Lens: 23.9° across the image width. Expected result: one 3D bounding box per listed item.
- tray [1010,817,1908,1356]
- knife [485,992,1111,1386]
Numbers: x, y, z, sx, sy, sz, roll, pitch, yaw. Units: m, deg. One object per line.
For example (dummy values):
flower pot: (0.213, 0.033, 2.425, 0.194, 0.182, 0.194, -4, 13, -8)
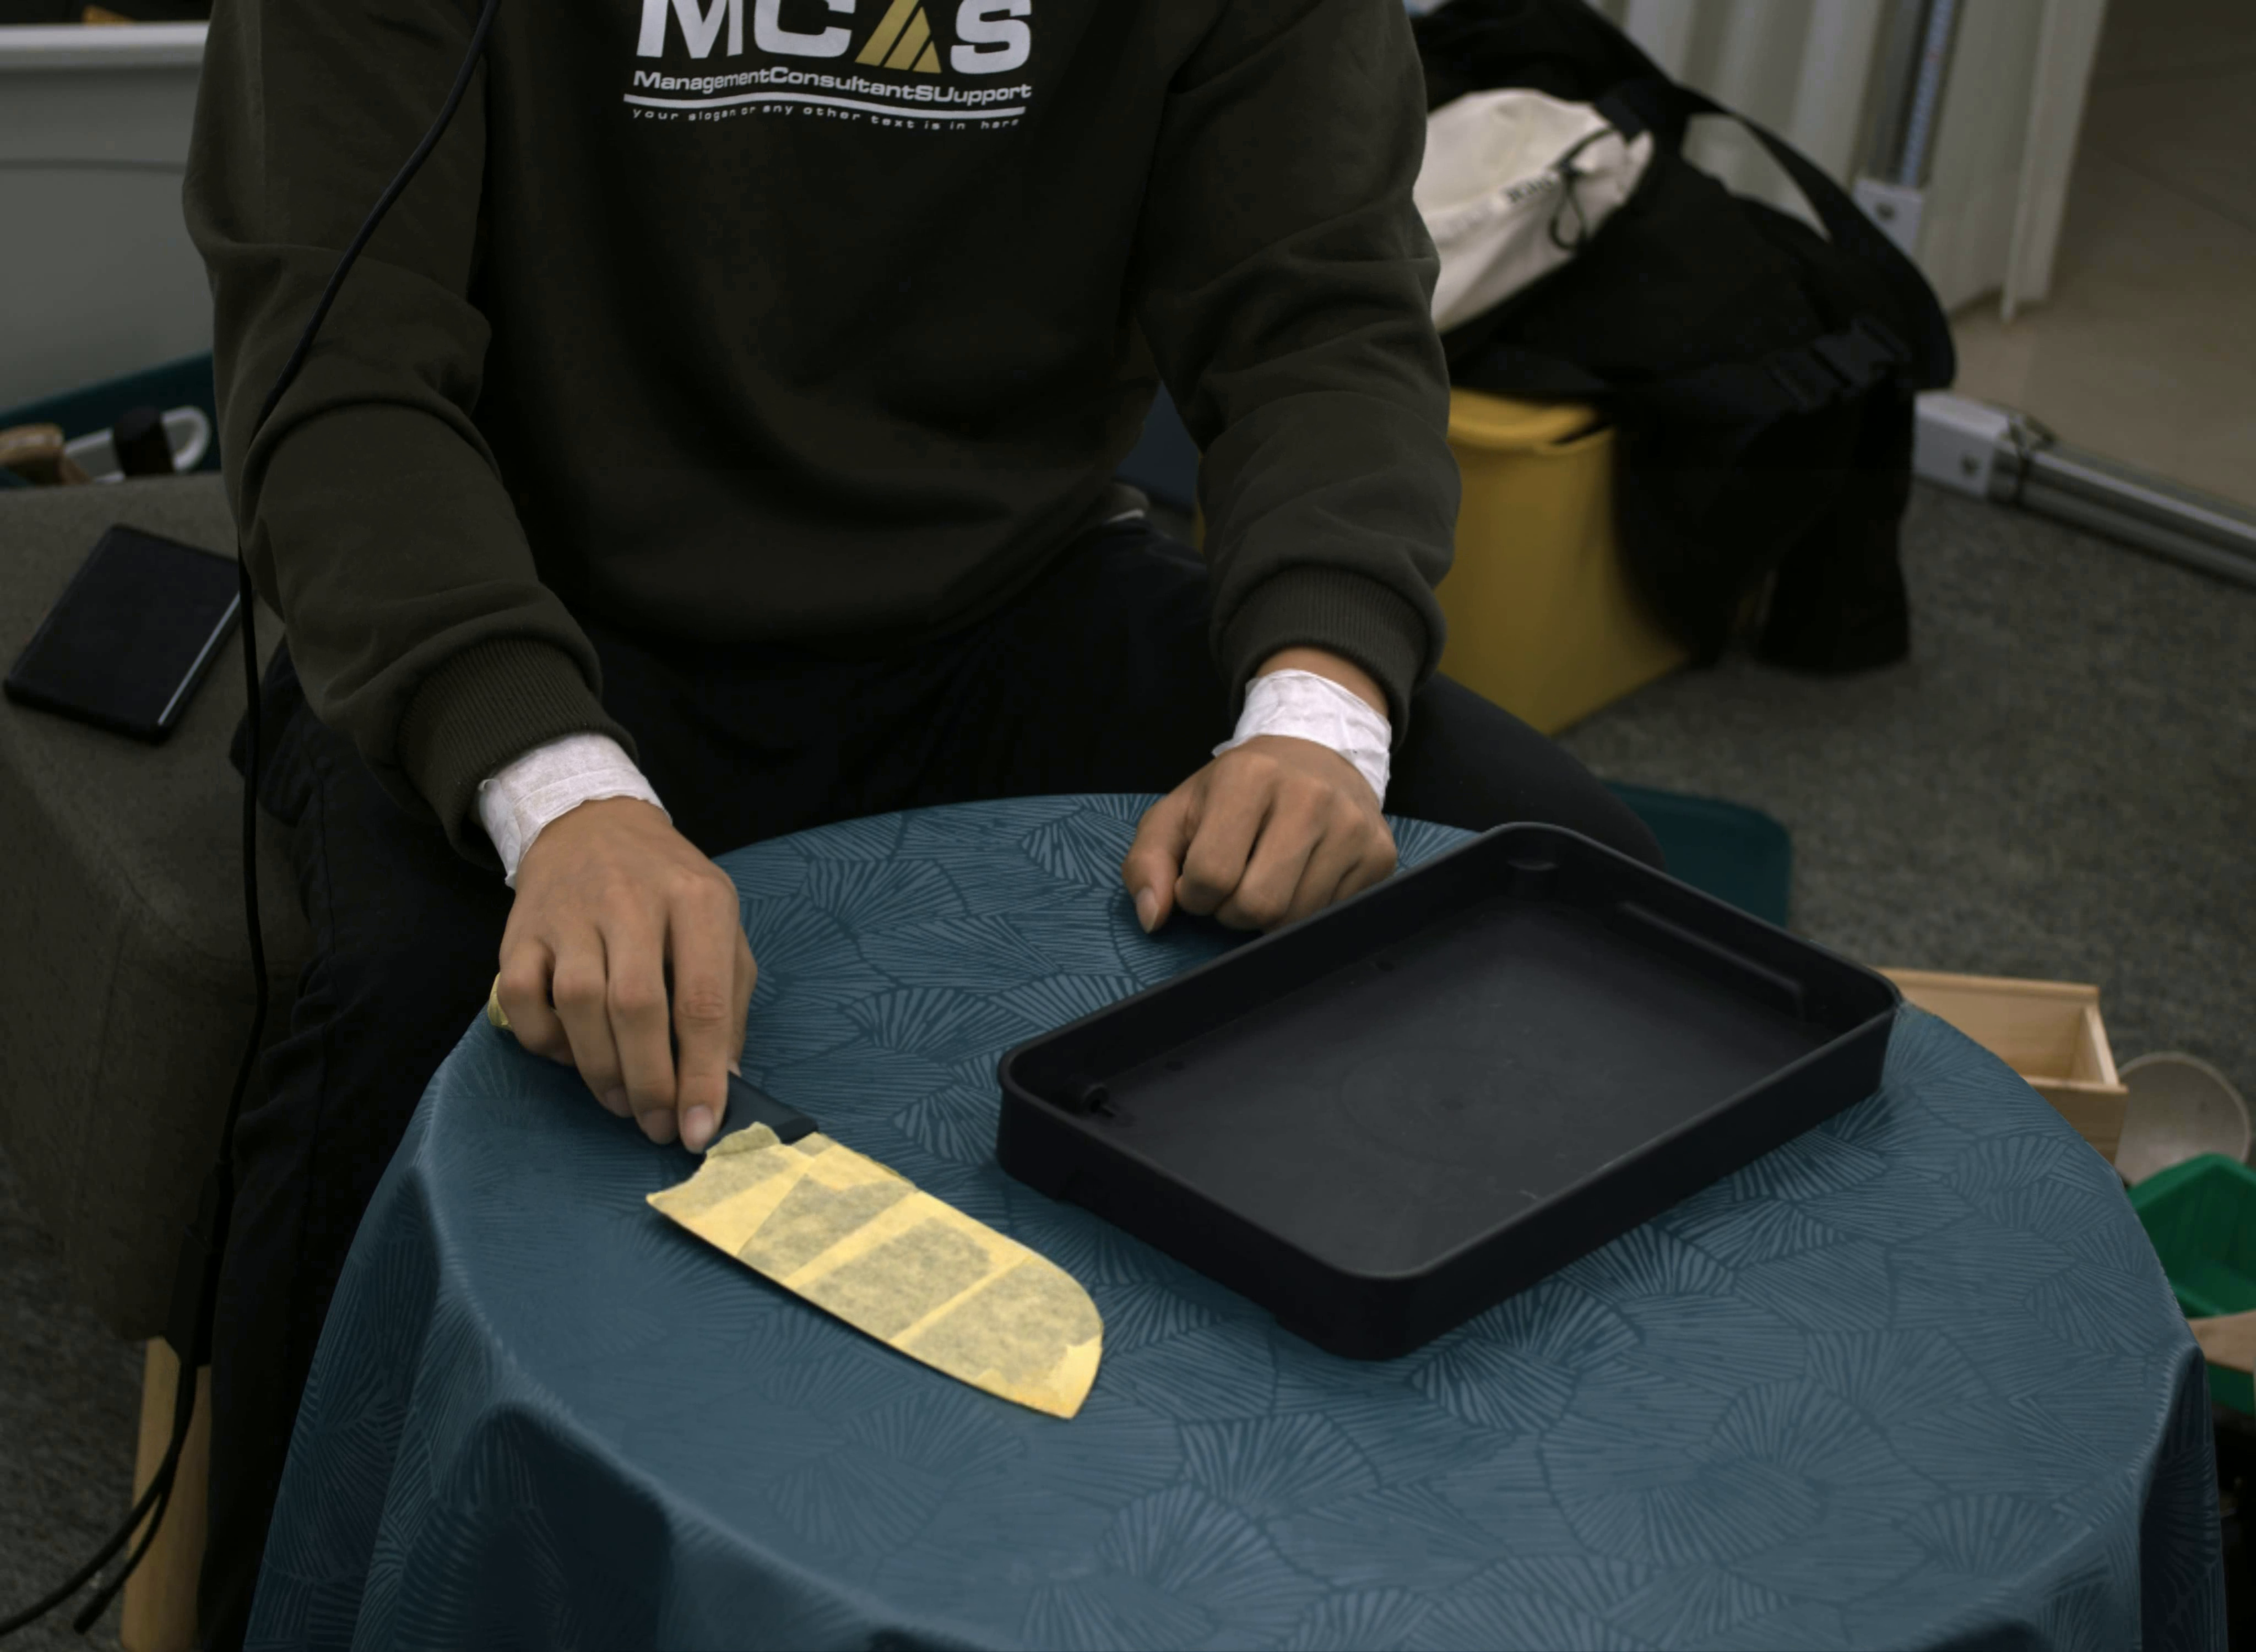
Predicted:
tray: (0.119, 0.085, 1.870, 0.185, 0.037, 0.316, 25, 32, 33)
knife: (-0.118, 0.122, 1.768, 0.291, 0.027, 0.081, 27, 34, 34)
